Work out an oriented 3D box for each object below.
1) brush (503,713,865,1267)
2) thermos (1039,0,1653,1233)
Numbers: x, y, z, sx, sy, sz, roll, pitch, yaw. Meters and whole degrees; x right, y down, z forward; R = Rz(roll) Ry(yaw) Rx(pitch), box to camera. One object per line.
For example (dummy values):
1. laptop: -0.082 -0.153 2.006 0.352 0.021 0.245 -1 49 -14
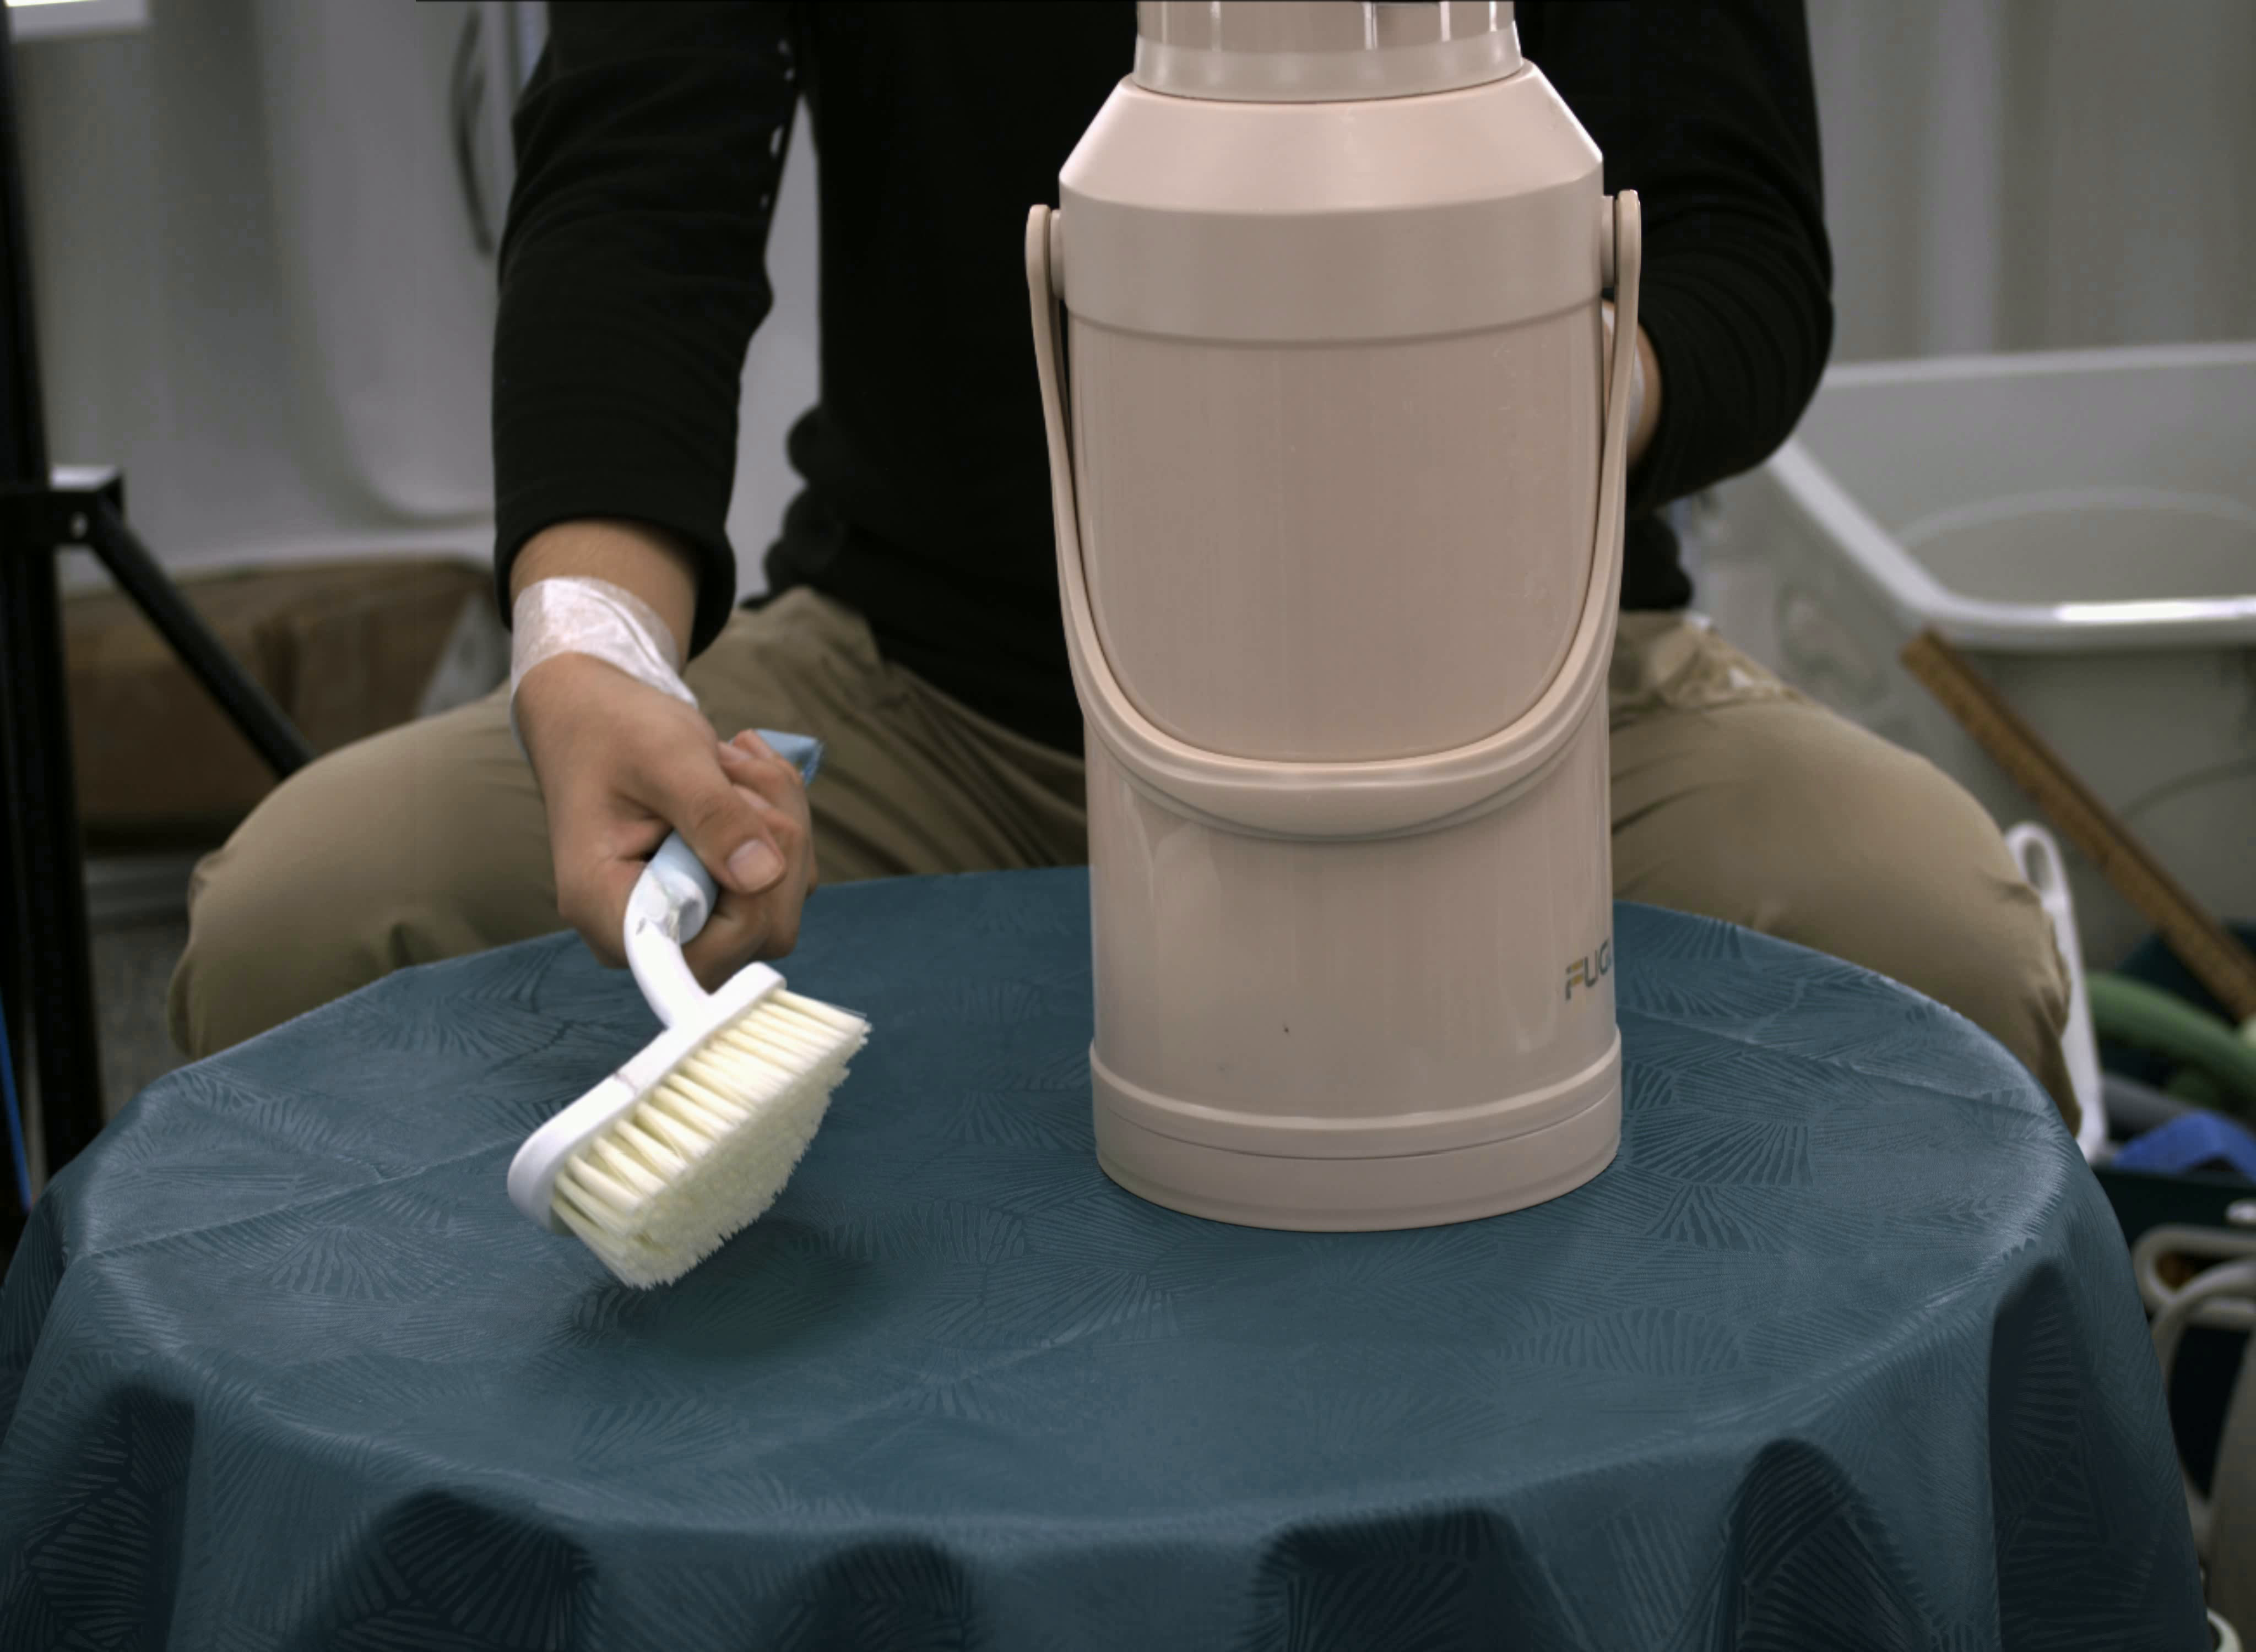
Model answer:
1. brush: -0.106 0.044 1.589 0.084 0.084 0.324 -23 16 18
2. thermos: 0.068 -0.100 1.554 0.175 0.406 0.207 -2 15 6
